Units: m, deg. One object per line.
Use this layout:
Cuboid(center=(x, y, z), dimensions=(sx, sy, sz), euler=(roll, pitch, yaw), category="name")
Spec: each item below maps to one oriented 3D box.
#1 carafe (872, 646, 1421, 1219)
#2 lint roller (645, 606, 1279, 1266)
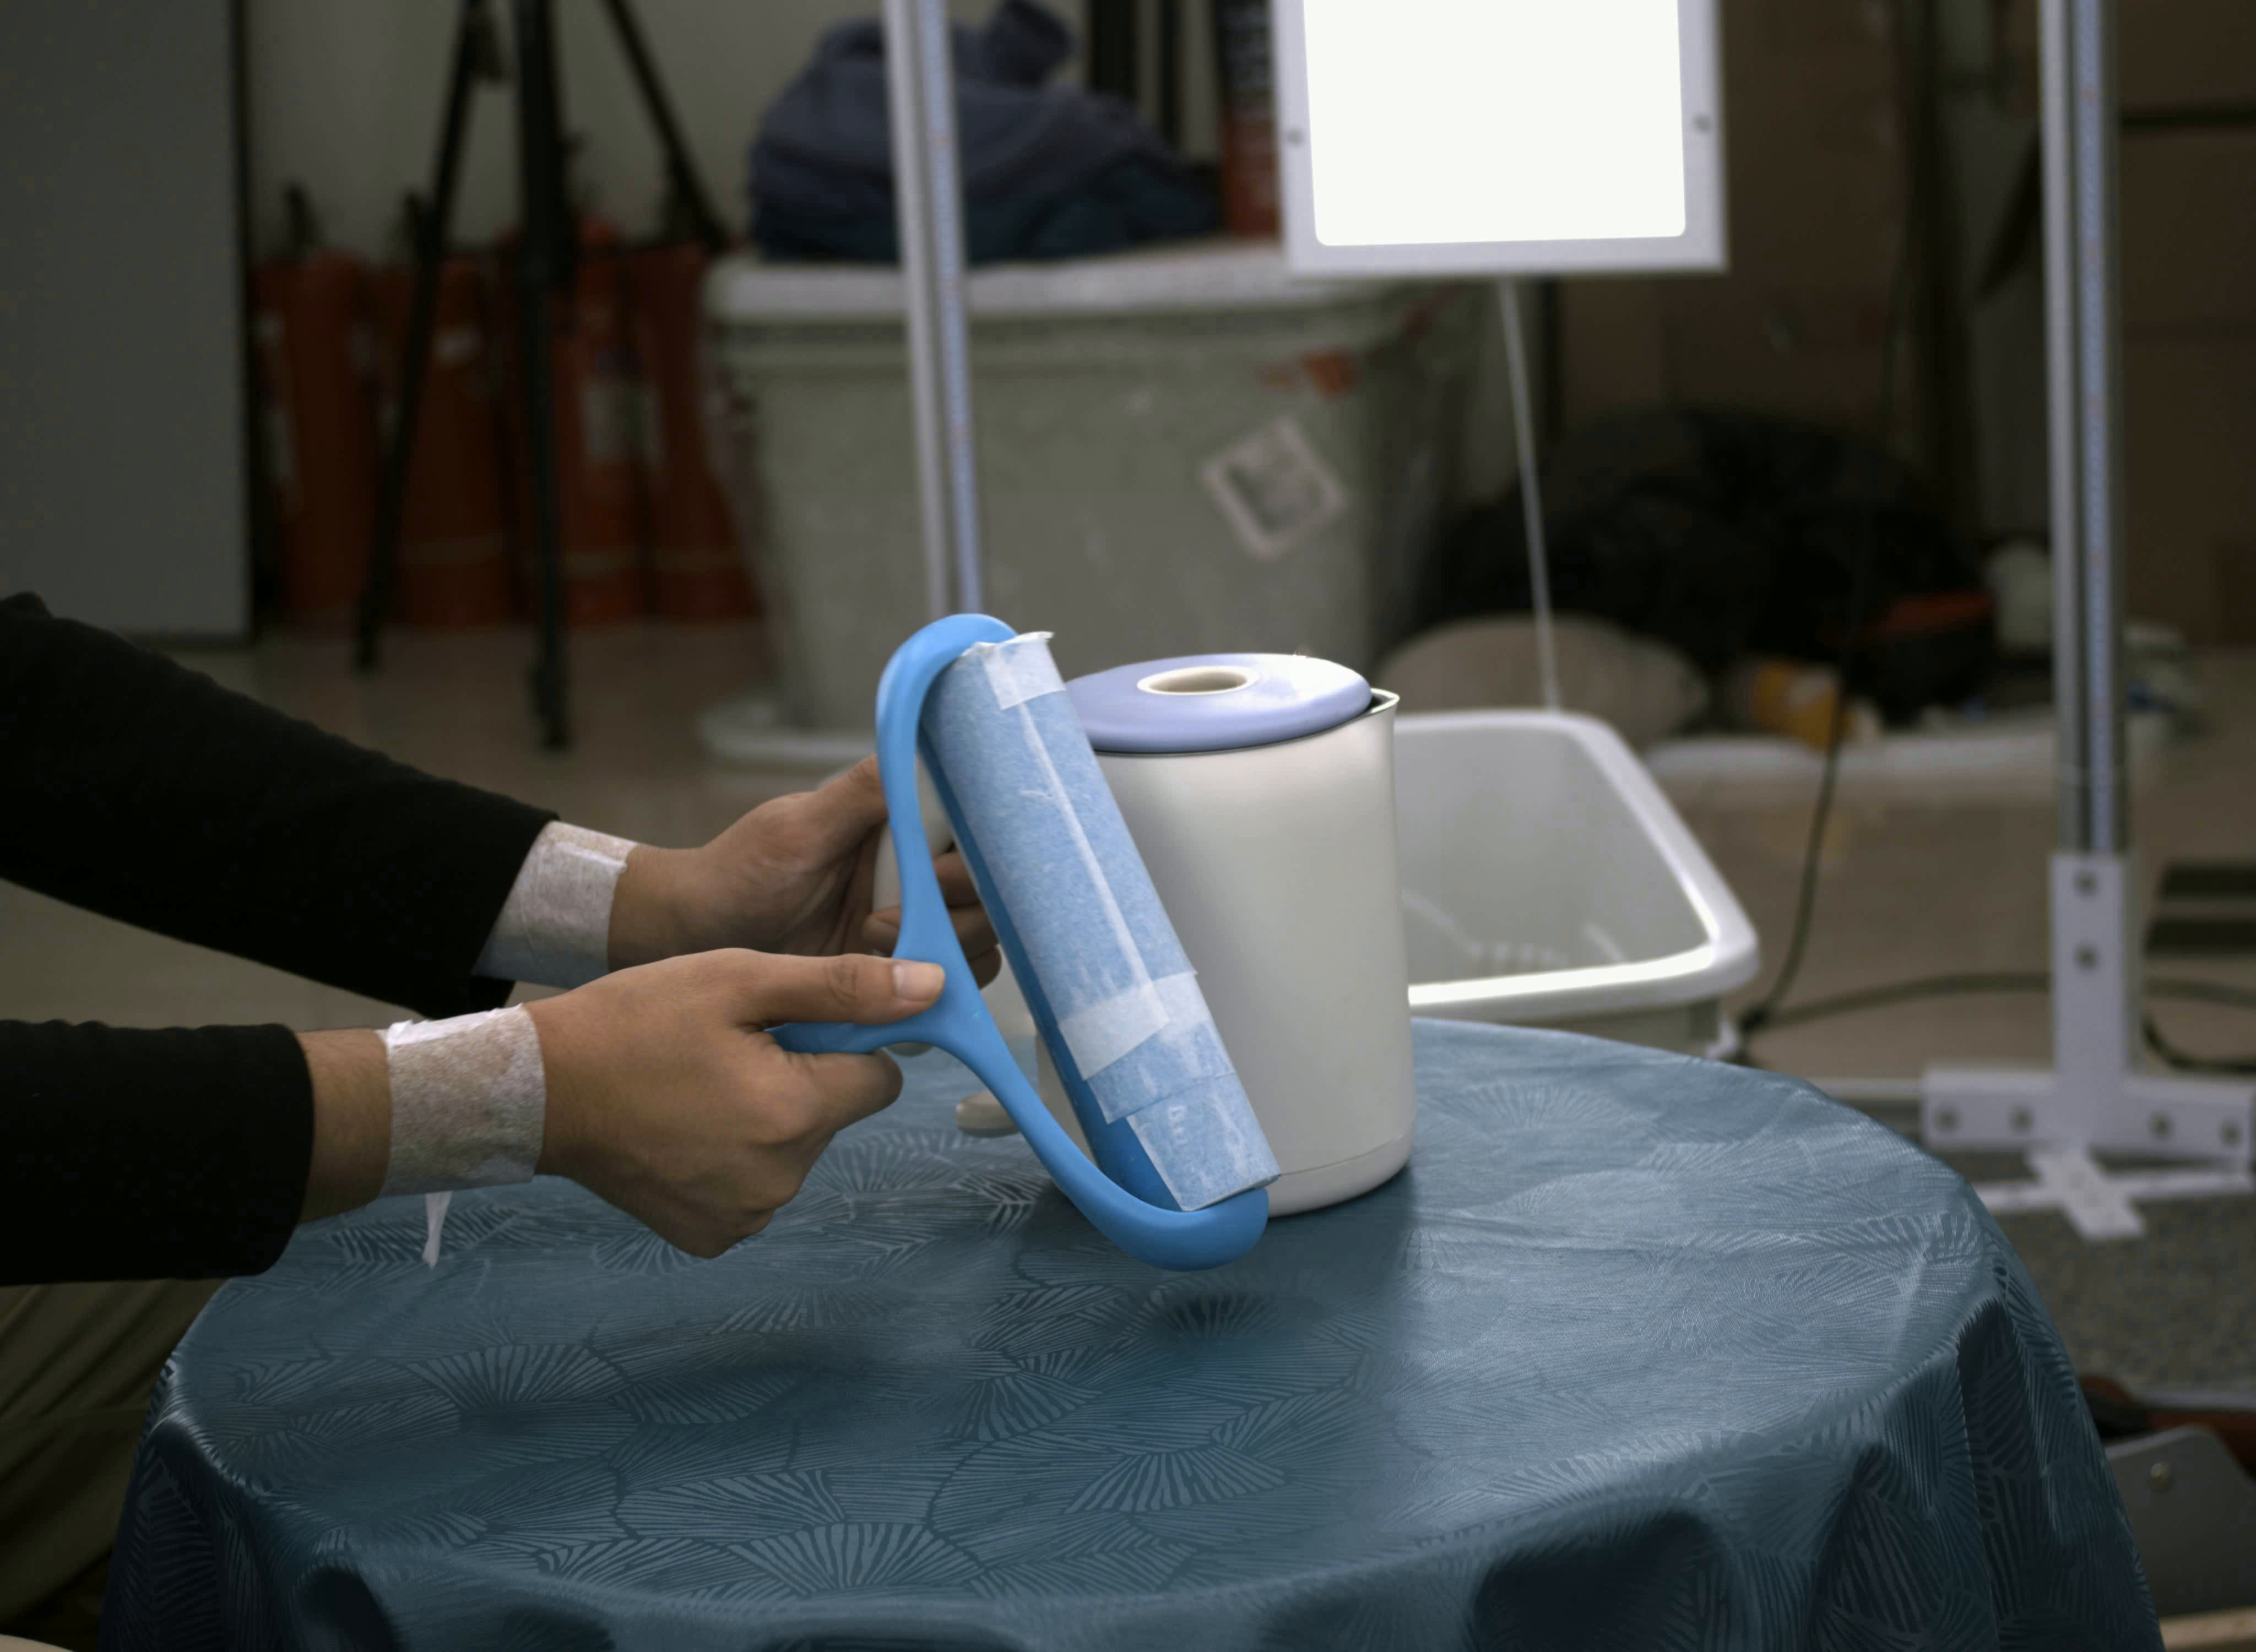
Cuboid(center=(0.006, 0.039, 1.892), dimensions=(0.191, 0.183, 0.132), euler=(-6, 13, 3), category="carafe")
Cuboid(center=(-0.067, 0.058, 1.759), dimensions=(0.178, 0.229, 0.068), euler=(-25, -7, -13), category="lint roller")
